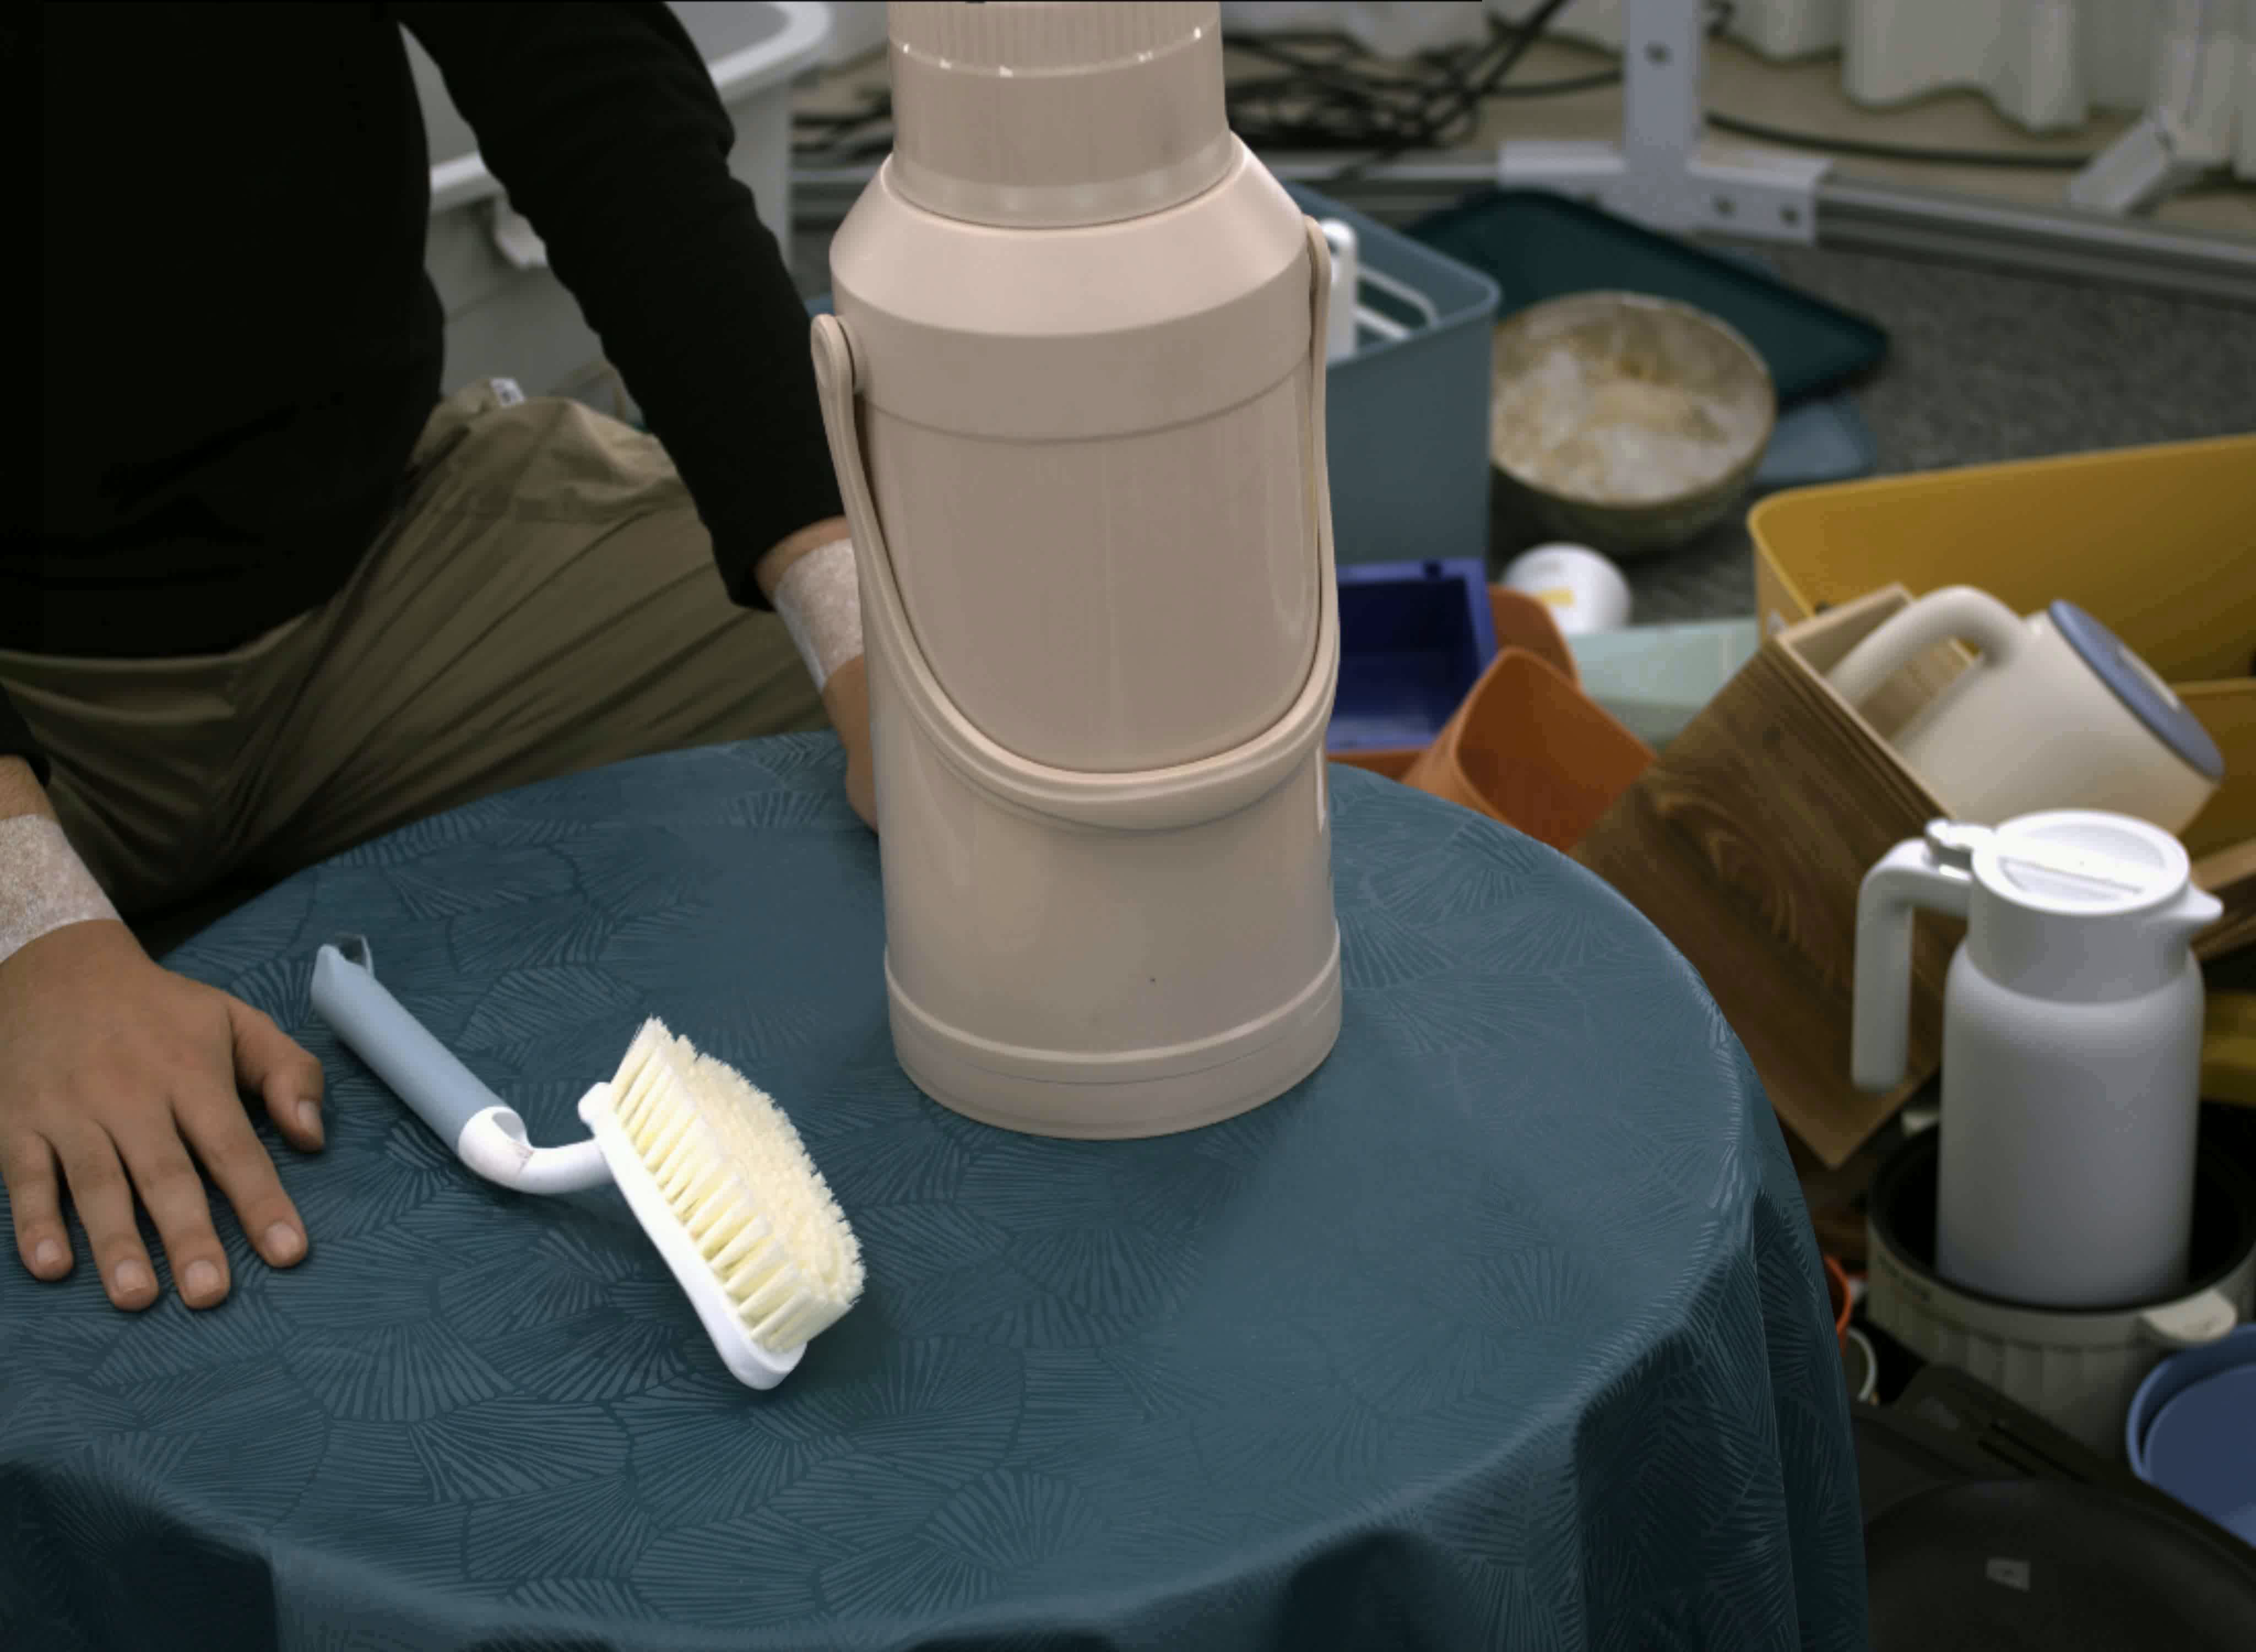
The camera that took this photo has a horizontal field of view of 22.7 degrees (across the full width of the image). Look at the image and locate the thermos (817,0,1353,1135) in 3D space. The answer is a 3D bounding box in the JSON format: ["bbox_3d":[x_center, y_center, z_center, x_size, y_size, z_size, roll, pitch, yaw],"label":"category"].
[{"bbox_3d":[-0.016,-0.113,1.890,0.176,0.402,0.208,-15,29,-19],"label":"thermos"}]

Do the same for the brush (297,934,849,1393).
[{"bbox_3d":[-0.184,0.082,1.871,0.085,0.082,0.327,-22,34,-25],"label":"brush"}]
